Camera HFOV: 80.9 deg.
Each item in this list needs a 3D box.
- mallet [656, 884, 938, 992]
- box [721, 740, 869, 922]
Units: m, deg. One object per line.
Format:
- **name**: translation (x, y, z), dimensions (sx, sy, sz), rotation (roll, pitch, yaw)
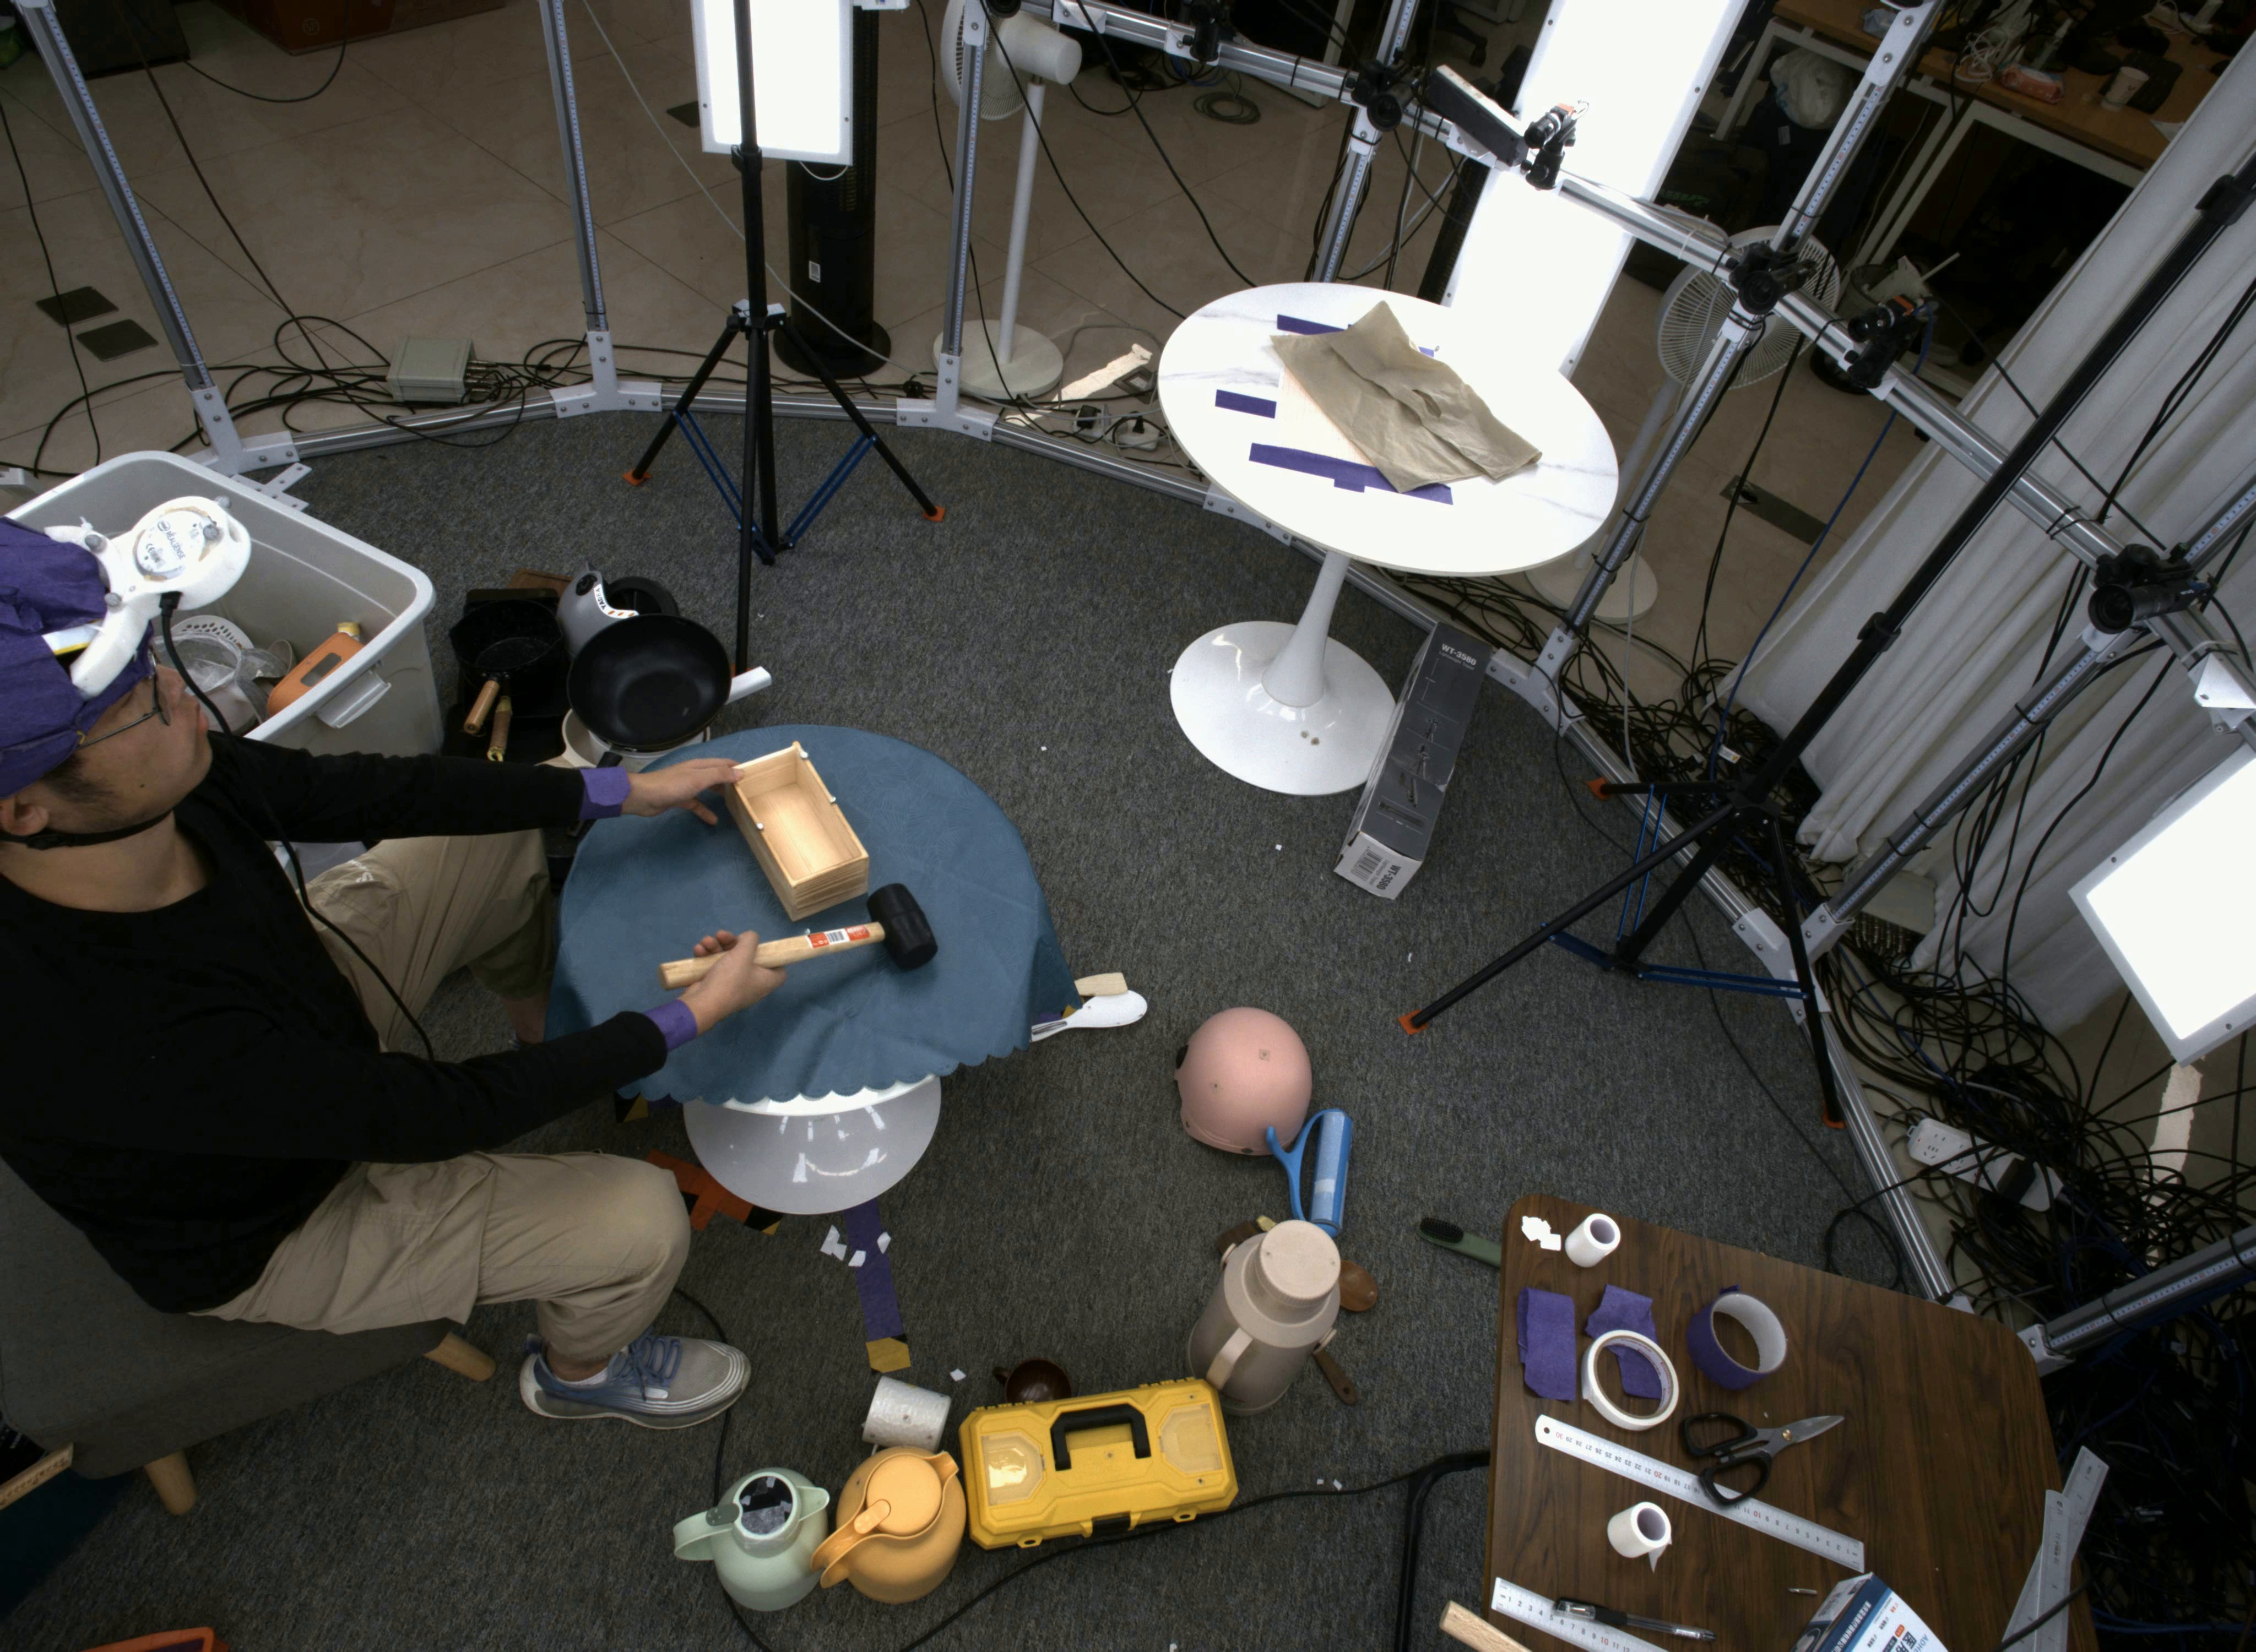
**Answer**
- **mallet**: translation (-0.387, 0.138, 1.533), dimensions (0.344, 0.065, 0.099), rotation (-7, 49, -41)
- **box**: translation (-0.428, 0.004, 1.666), dimensions (0.108, 0.082, 0.206), rotation (-24, 62, -27)
